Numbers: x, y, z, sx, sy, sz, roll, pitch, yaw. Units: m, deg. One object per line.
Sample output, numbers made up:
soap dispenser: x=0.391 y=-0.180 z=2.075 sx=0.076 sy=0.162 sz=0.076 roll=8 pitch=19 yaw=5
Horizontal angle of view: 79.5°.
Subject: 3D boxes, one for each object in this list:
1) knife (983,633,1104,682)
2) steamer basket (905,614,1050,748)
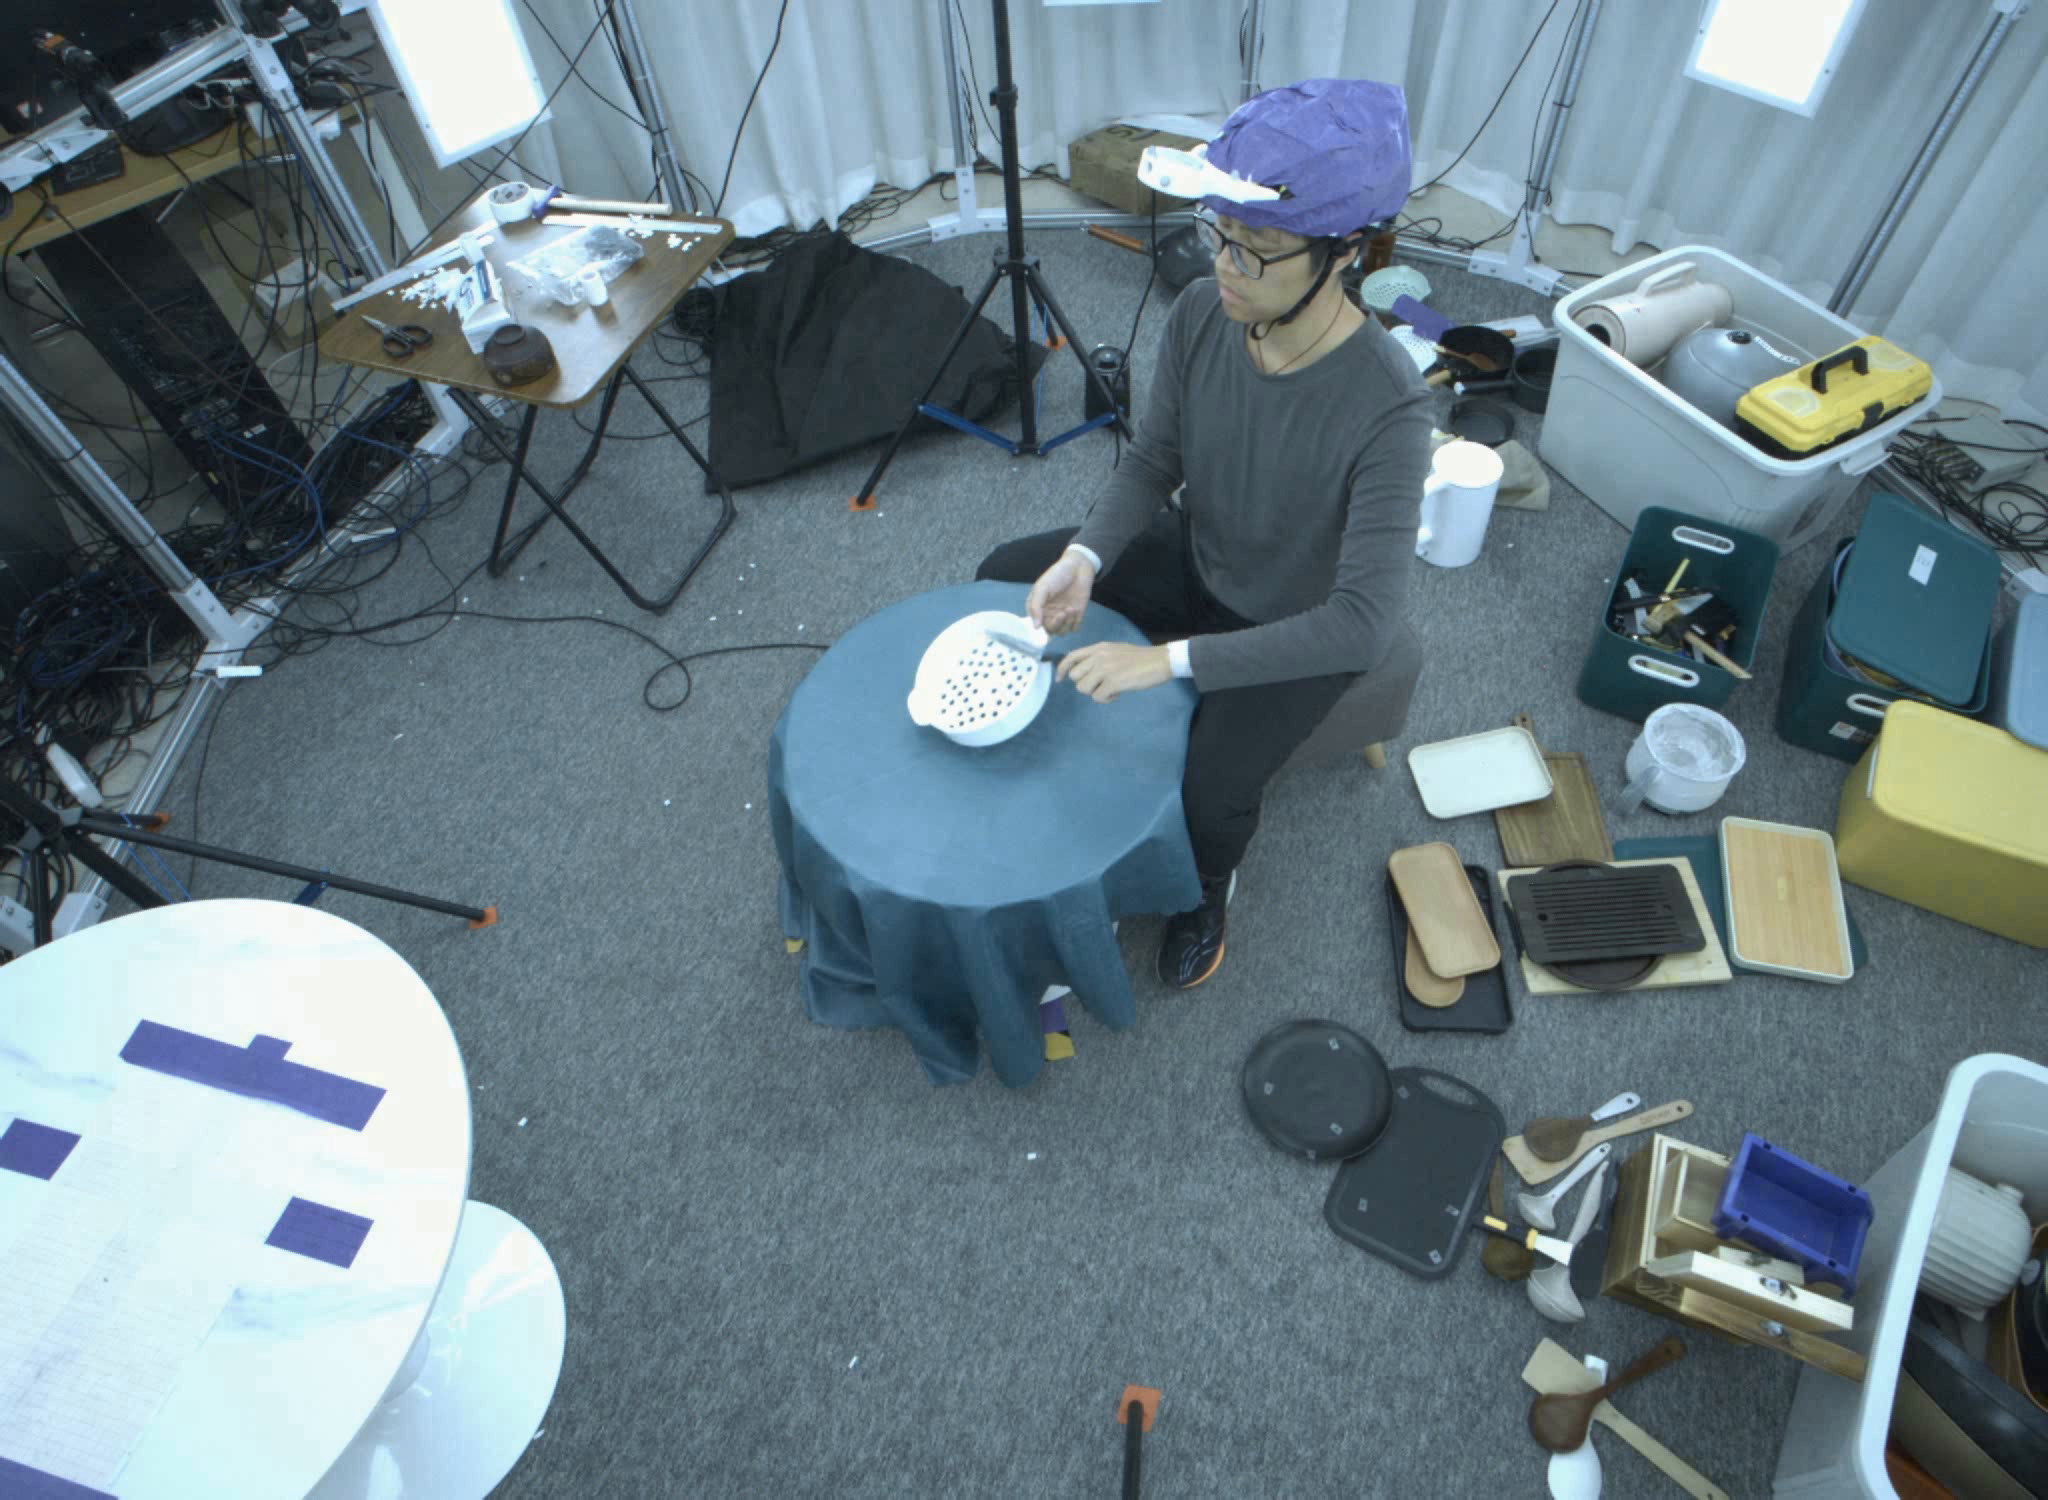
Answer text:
knife: x=0.024 y=-0.136 z=1.726 sx=0.232 sy=0.017 sz=0.024 roll=23 pitch=80 yaw=39
steamer basket: x=-0.061 y=-0.099 z=1.793 sx=0.230 sy=0.070 sz=0.198 roll=-31 pitch=54 yaw=6
